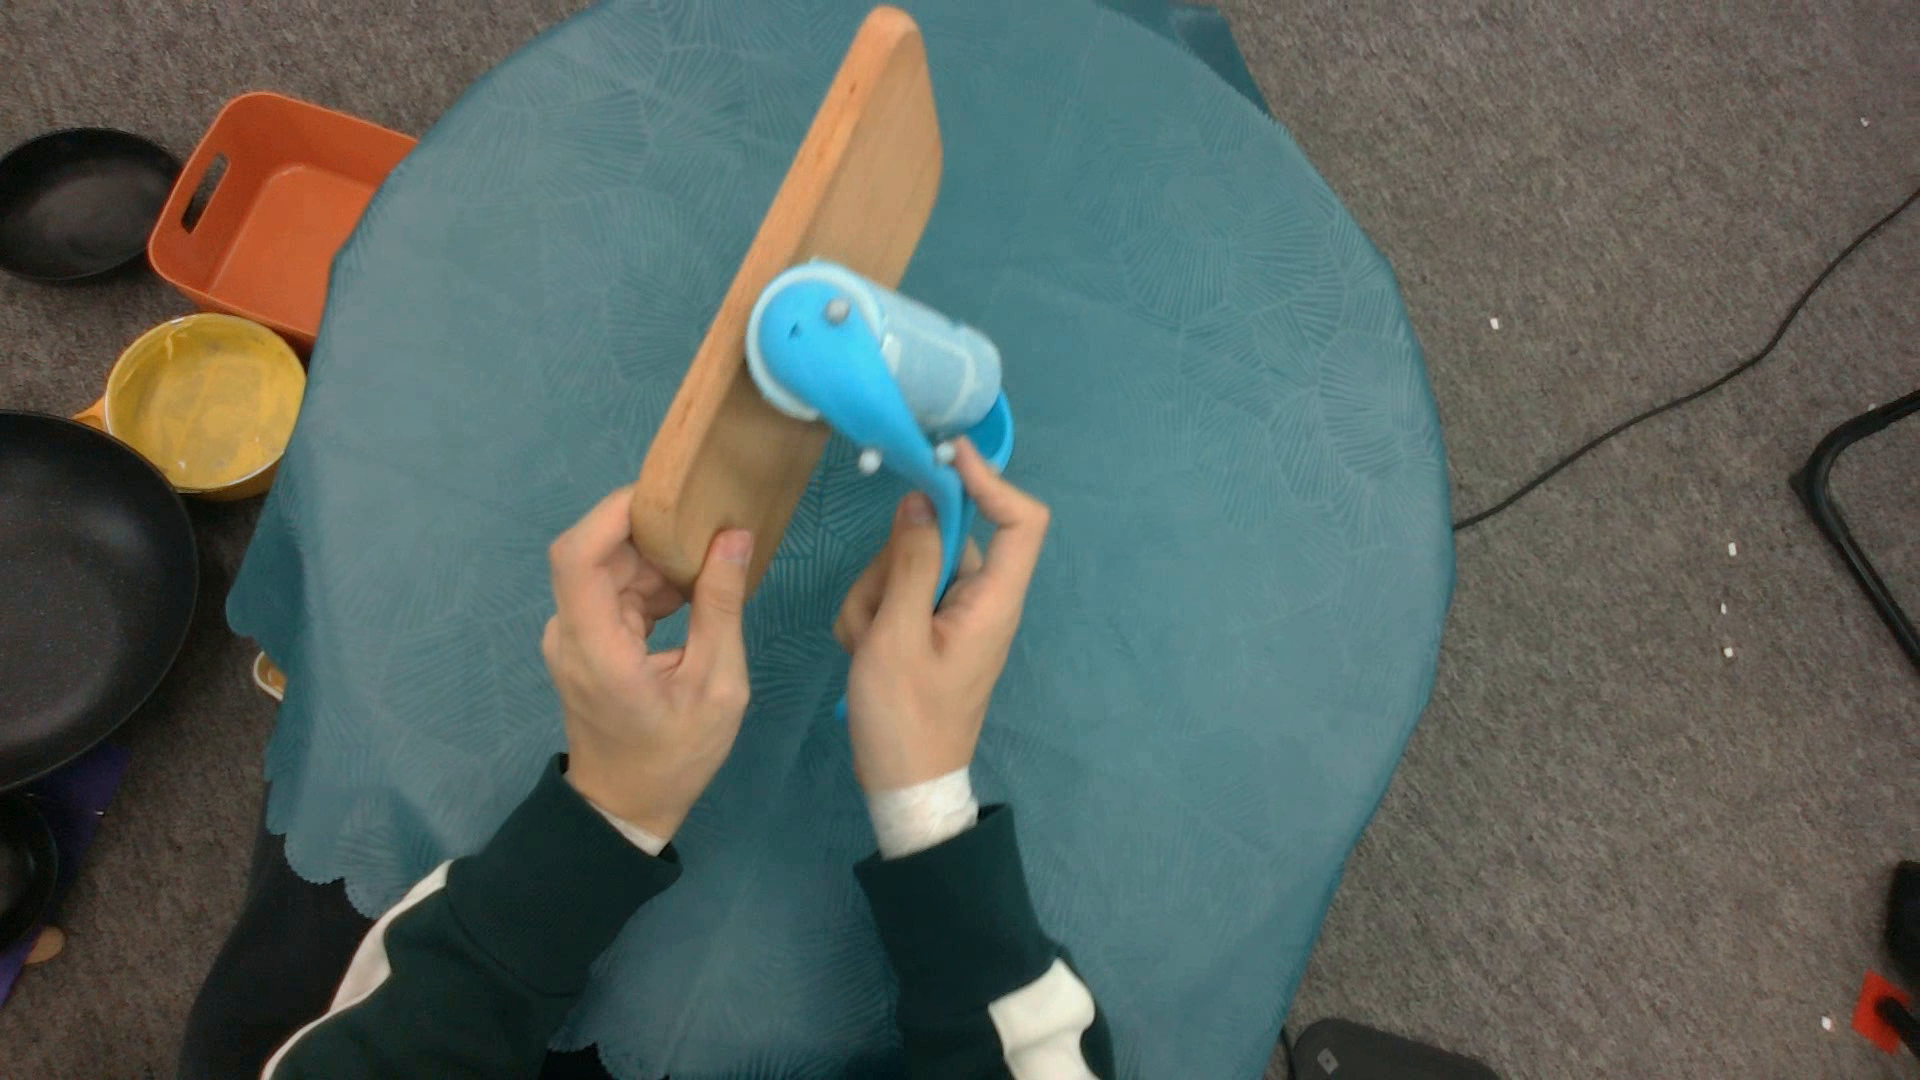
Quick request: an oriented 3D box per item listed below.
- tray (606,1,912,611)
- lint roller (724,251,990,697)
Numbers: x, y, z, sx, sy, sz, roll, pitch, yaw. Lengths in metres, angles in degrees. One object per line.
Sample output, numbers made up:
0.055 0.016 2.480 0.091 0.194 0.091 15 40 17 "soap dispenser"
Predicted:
-0.074 -0.095 0.577 0.023 0.130 0.251 15 73 15 "tray"
-0.034 -0.023 0.589 0.068 0.229 0.180 -3 95 12 "lint roller"
